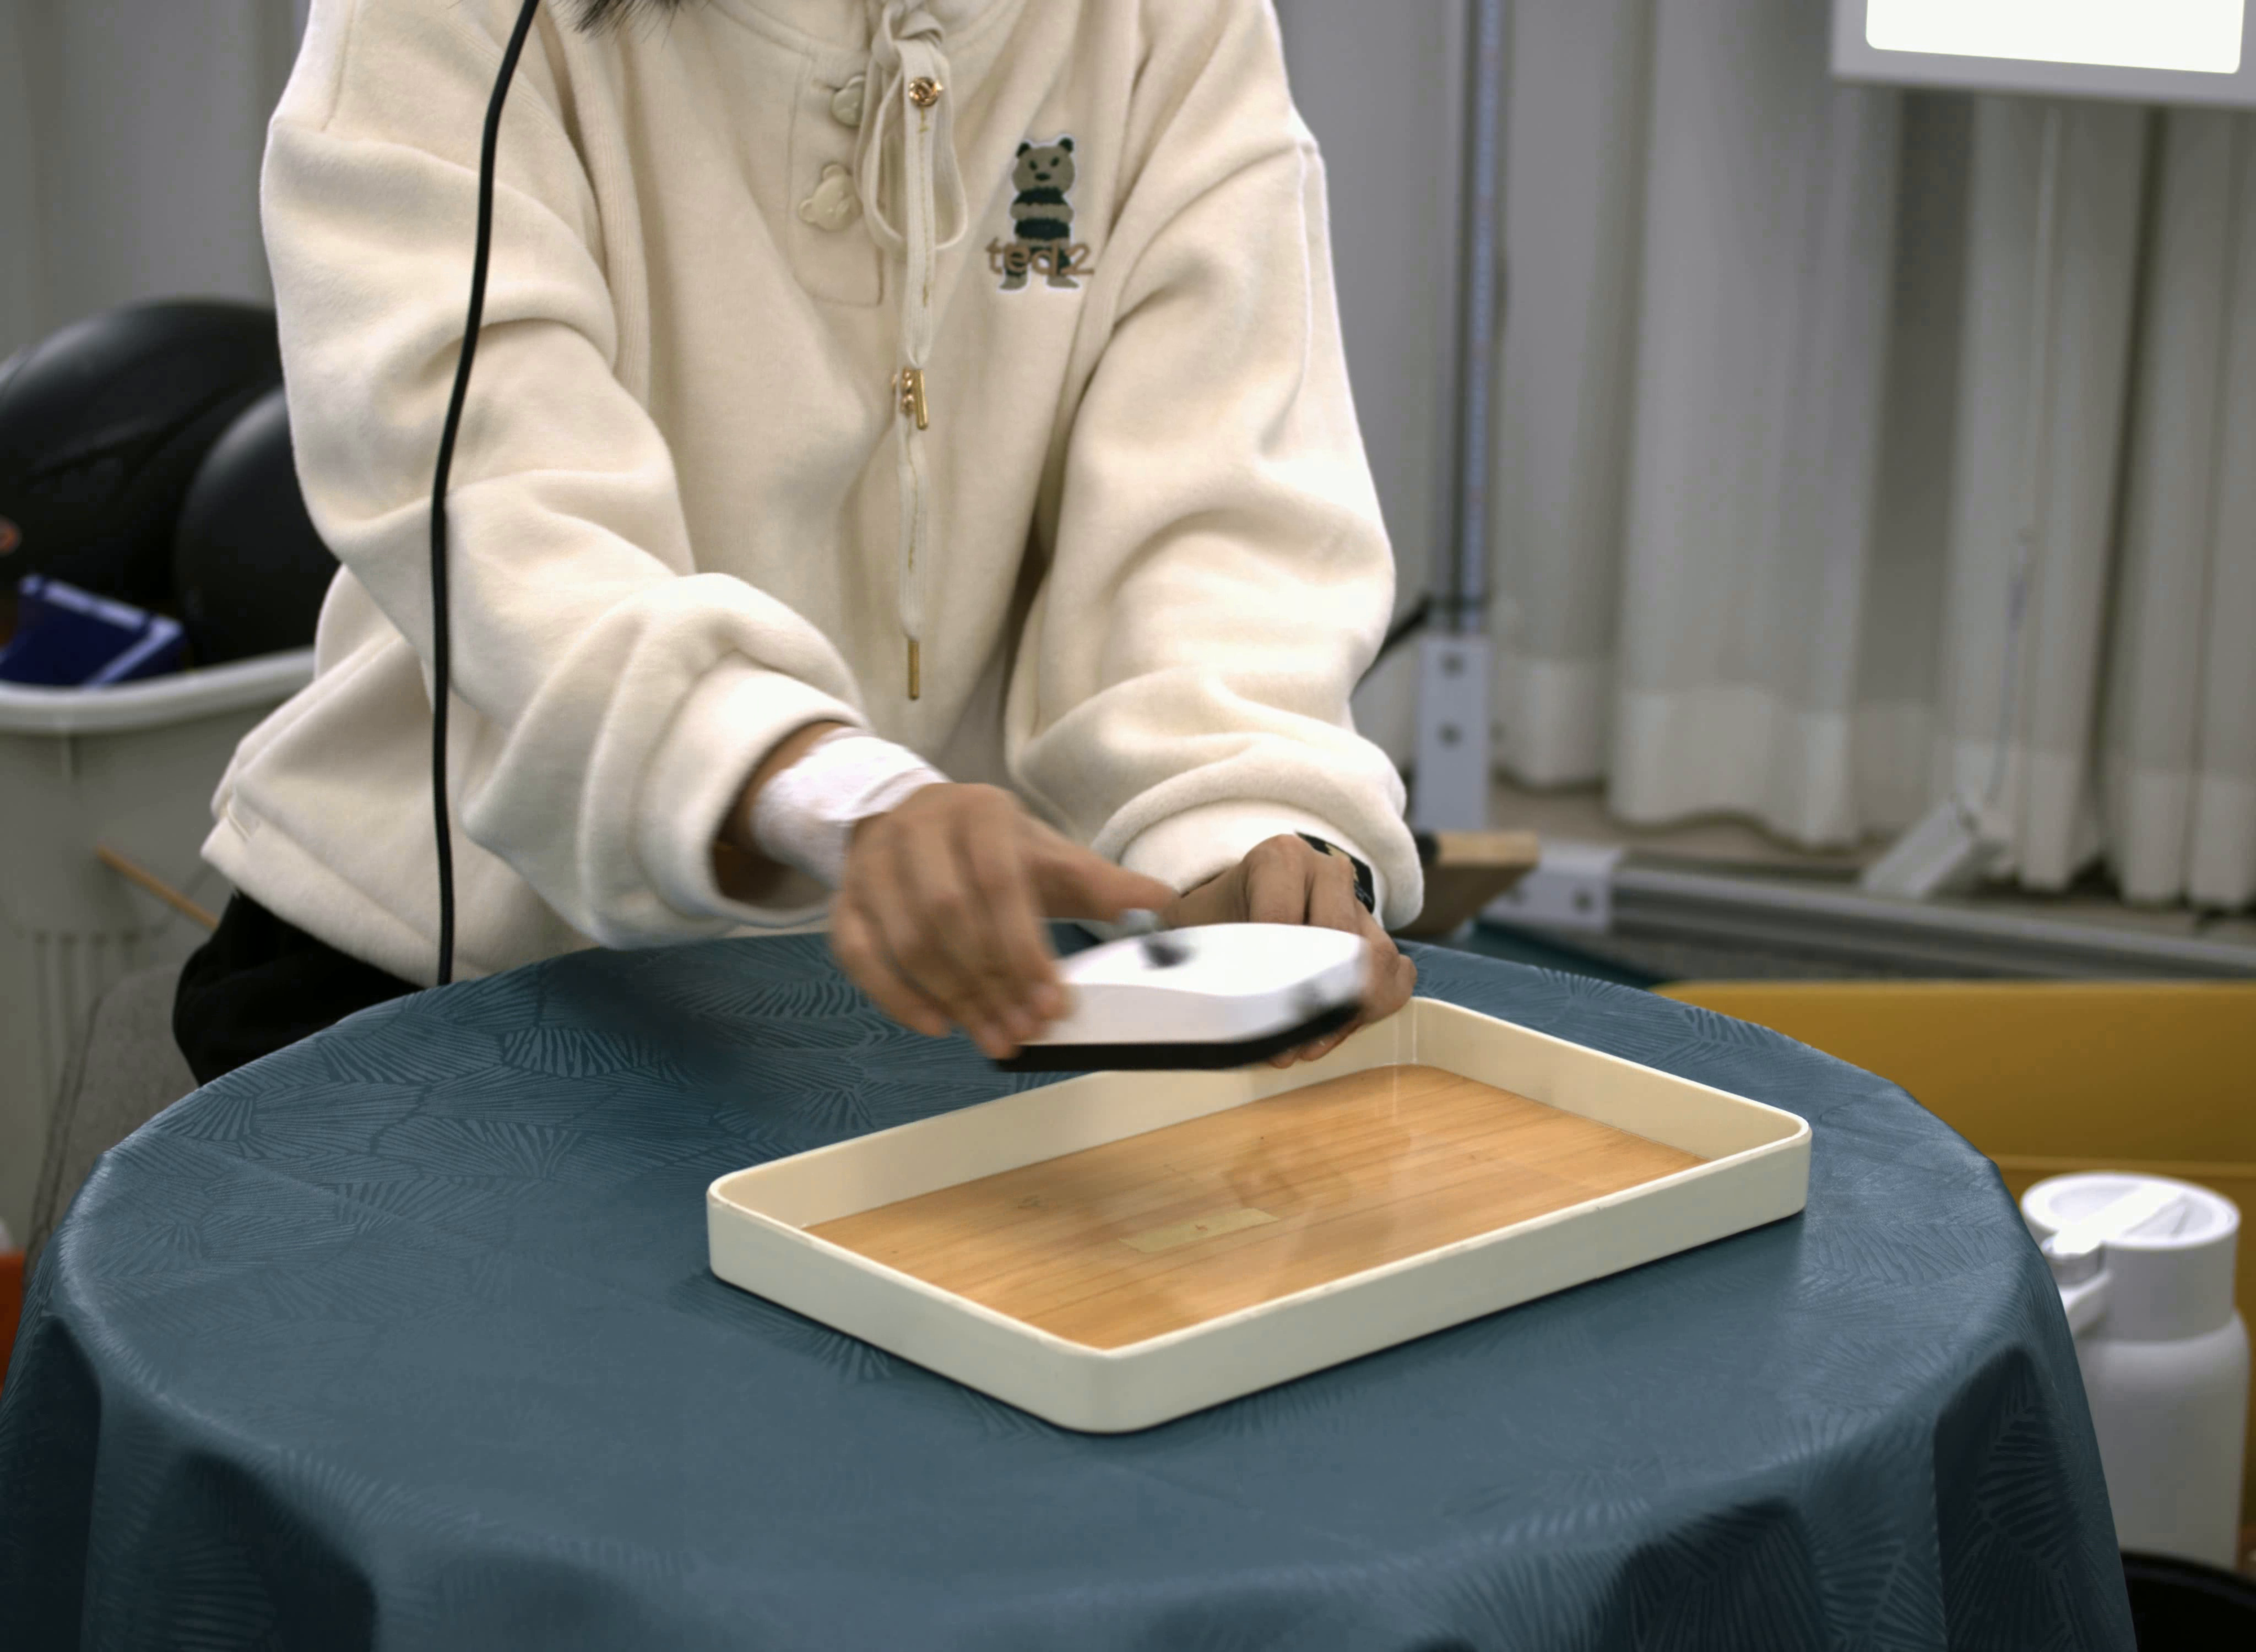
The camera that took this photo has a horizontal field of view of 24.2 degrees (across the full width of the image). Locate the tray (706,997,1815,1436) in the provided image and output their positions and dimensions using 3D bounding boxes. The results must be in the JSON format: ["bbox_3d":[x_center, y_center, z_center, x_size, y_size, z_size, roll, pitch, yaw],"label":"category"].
[{"bbox_3d":[0.043,0.111,1.576,0.302,0.027,0.189,-13,21,-40],"label":"tray"}]

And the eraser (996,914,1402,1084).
[{"bbox_3d":[0.022,0.052,1.573,0.063,0.035,0.130,-22,15,-41],"label":"eraser"}]
